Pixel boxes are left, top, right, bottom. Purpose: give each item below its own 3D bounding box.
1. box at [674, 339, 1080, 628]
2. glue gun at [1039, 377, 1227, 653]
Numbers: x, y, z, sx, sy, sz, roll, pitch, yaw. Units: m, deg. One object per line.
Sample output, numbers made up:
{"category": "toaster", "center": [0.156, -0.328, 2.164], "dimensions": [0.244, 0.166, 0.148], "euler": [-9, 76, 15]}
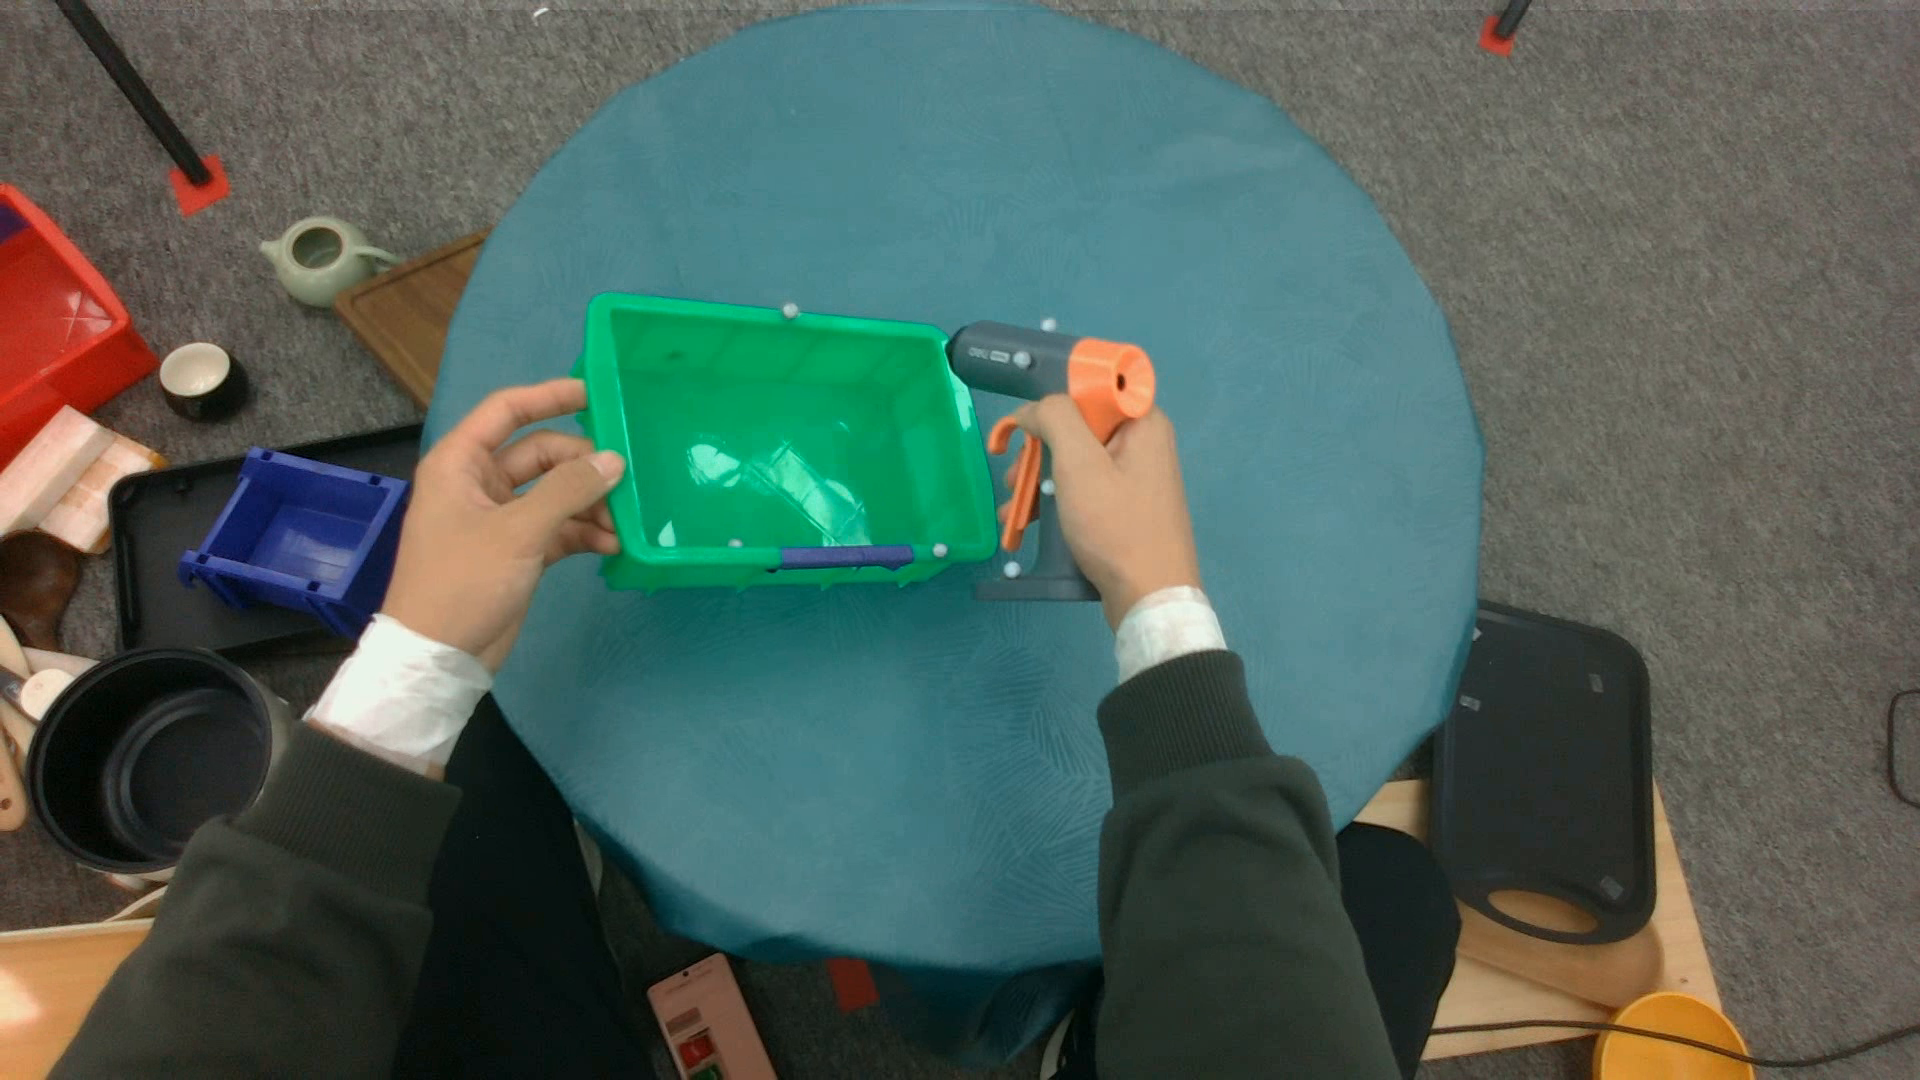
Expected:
{"category": "box", "center": [-0.046, -0.022, 0.719], "dimensions": [0.211, 0.065, 0.139], "euler": [2, 67, -32]}
{"category": "glue gun", "center": [0.076, -0.016, 0.667], "dimensions": [0.041, 0.117, 0.140], "euler": [7, 81, -35]}
